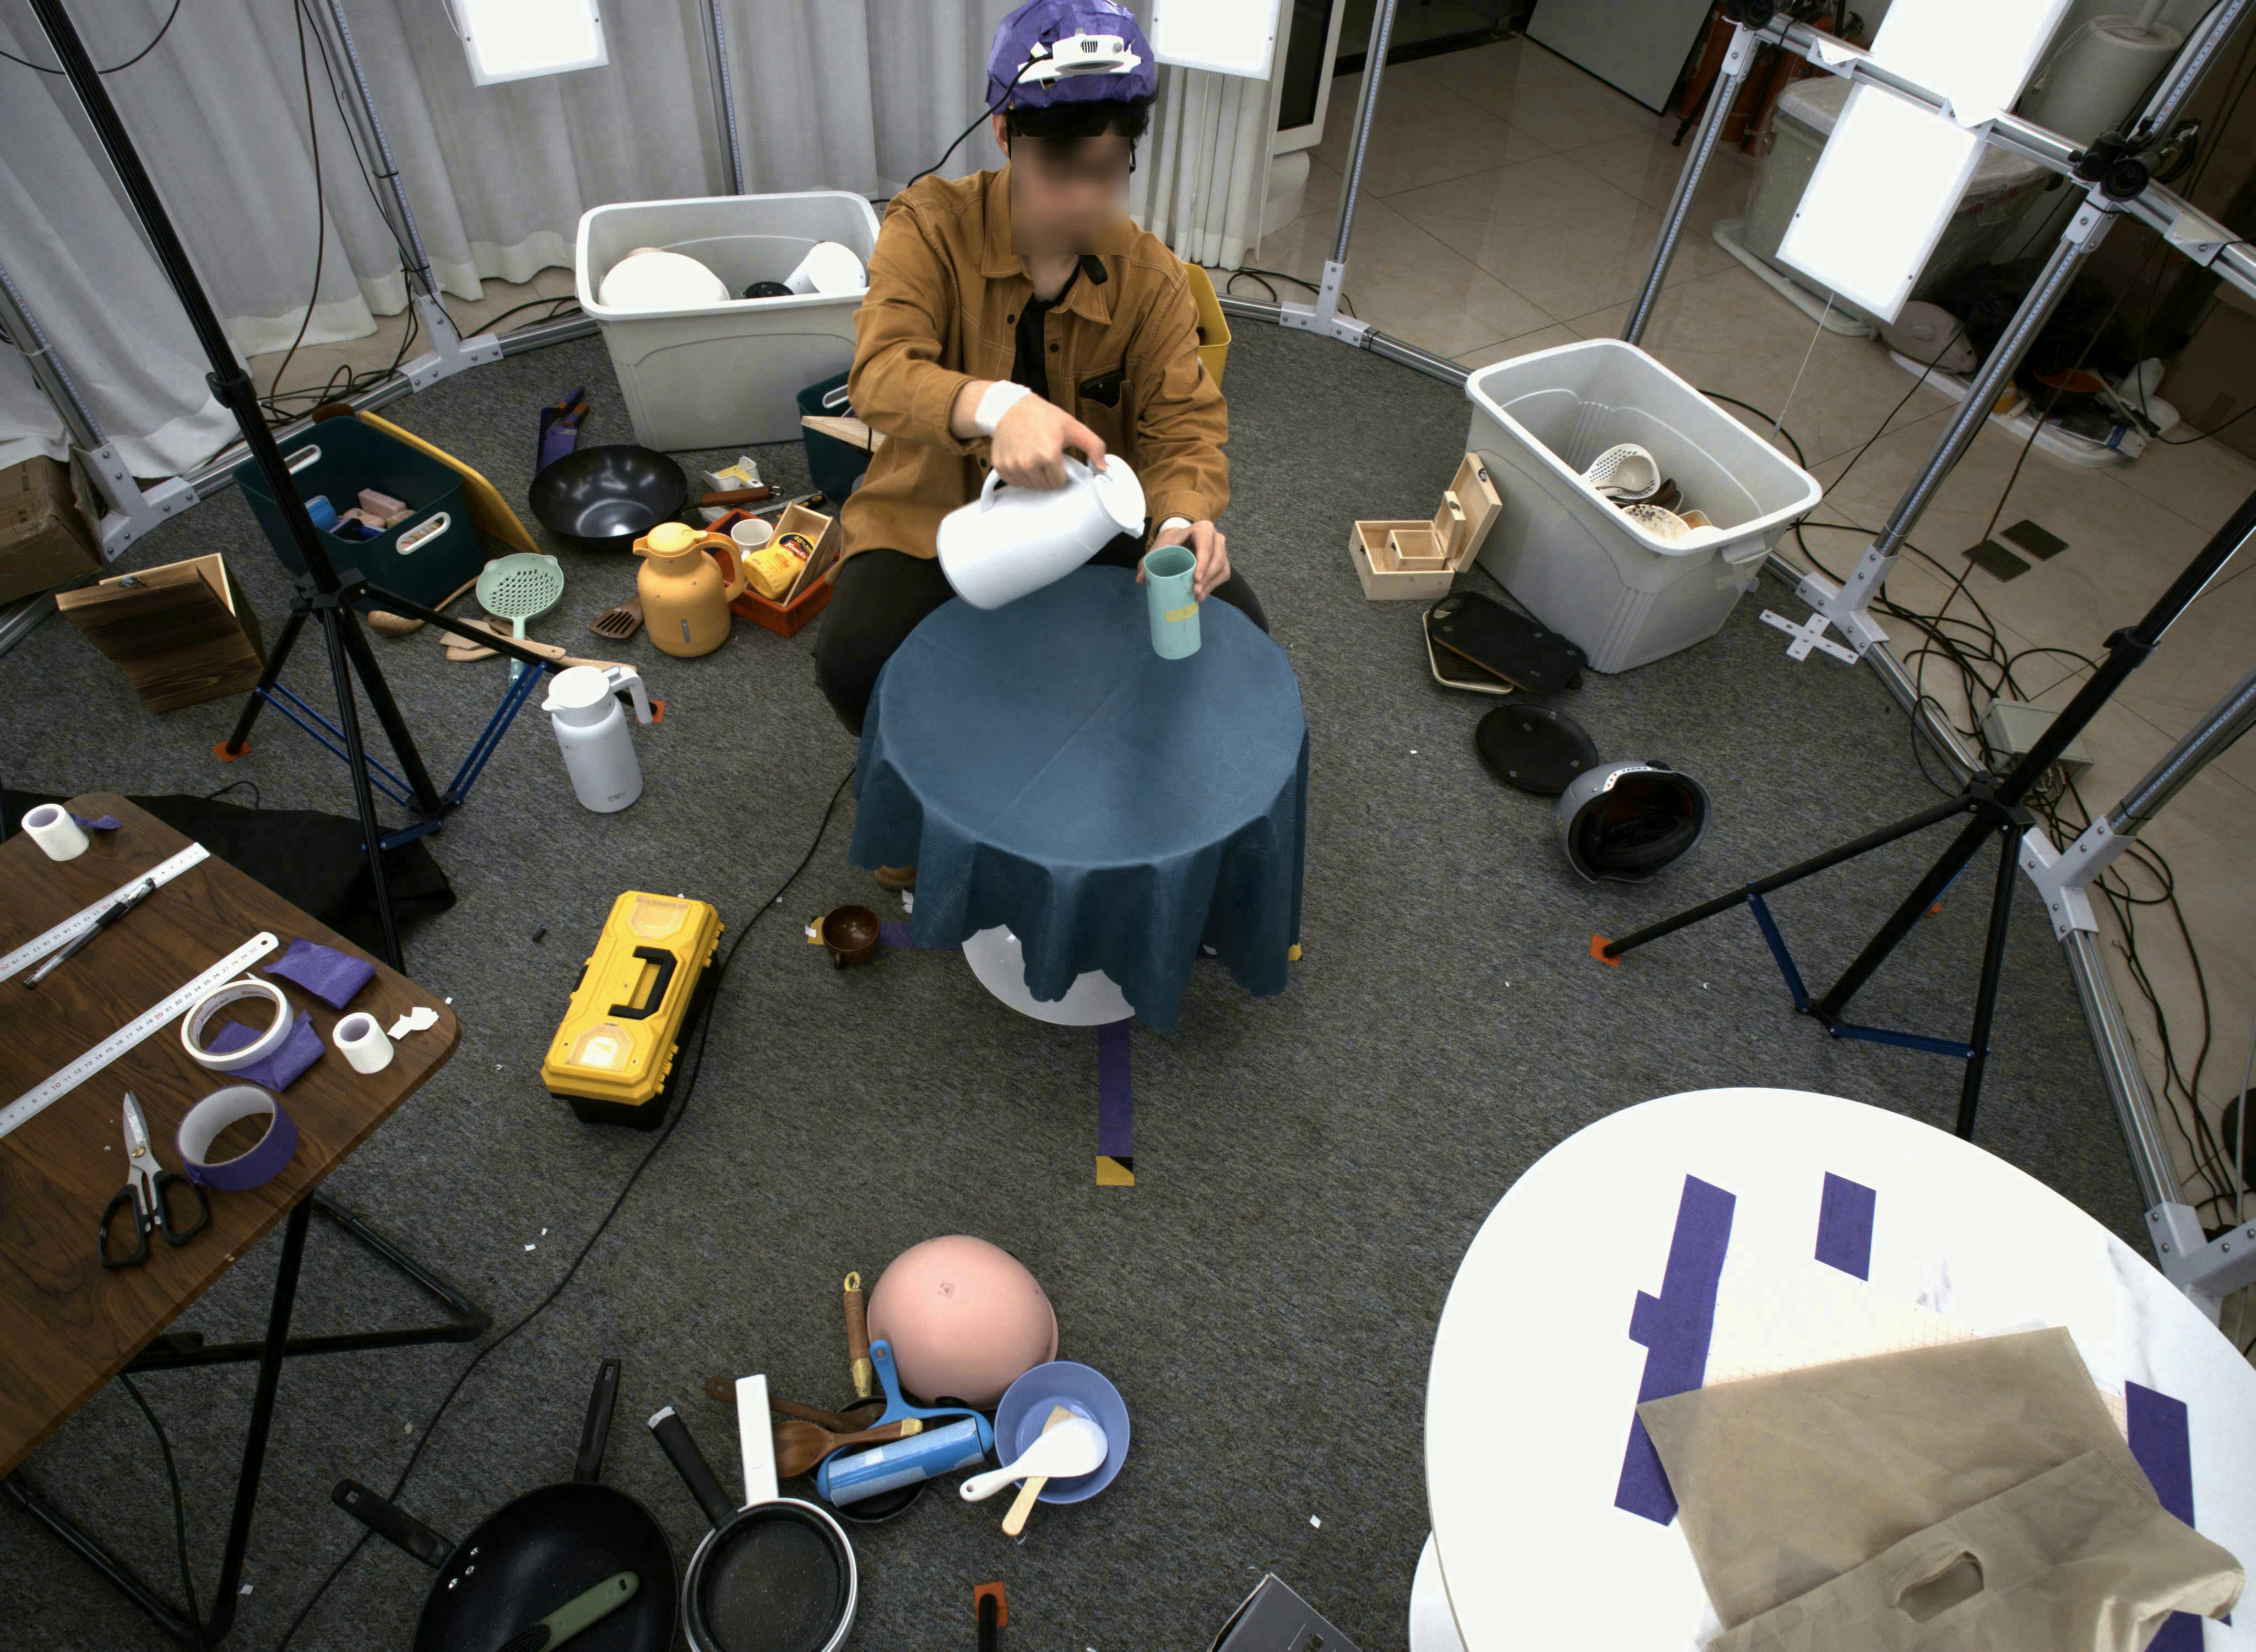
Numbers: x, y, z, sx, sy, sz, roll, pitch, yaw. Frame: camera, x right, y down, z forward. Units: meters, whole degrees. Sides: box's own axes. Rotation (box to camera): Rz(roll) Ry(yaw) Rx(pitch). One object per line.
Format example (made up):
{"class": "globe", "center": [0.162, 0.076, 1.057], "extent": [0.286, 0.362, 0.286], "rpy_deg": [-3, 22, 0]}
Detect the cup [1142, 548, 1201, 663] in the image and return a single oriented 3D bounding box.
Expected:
{"class": "cup", "center": [0.055, -0.276, 1.612], "extent": [0.067, 0.129, 0.068], "rpy_deg": [-4, 46, 4]}

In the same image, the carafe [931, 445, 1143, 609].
{"class": "carafe", "center": [-0.113, -0.370, 1.535], "extent": [0.248, 0.164, 0.135], "rpy_deg": [-15, 49, 35]}
